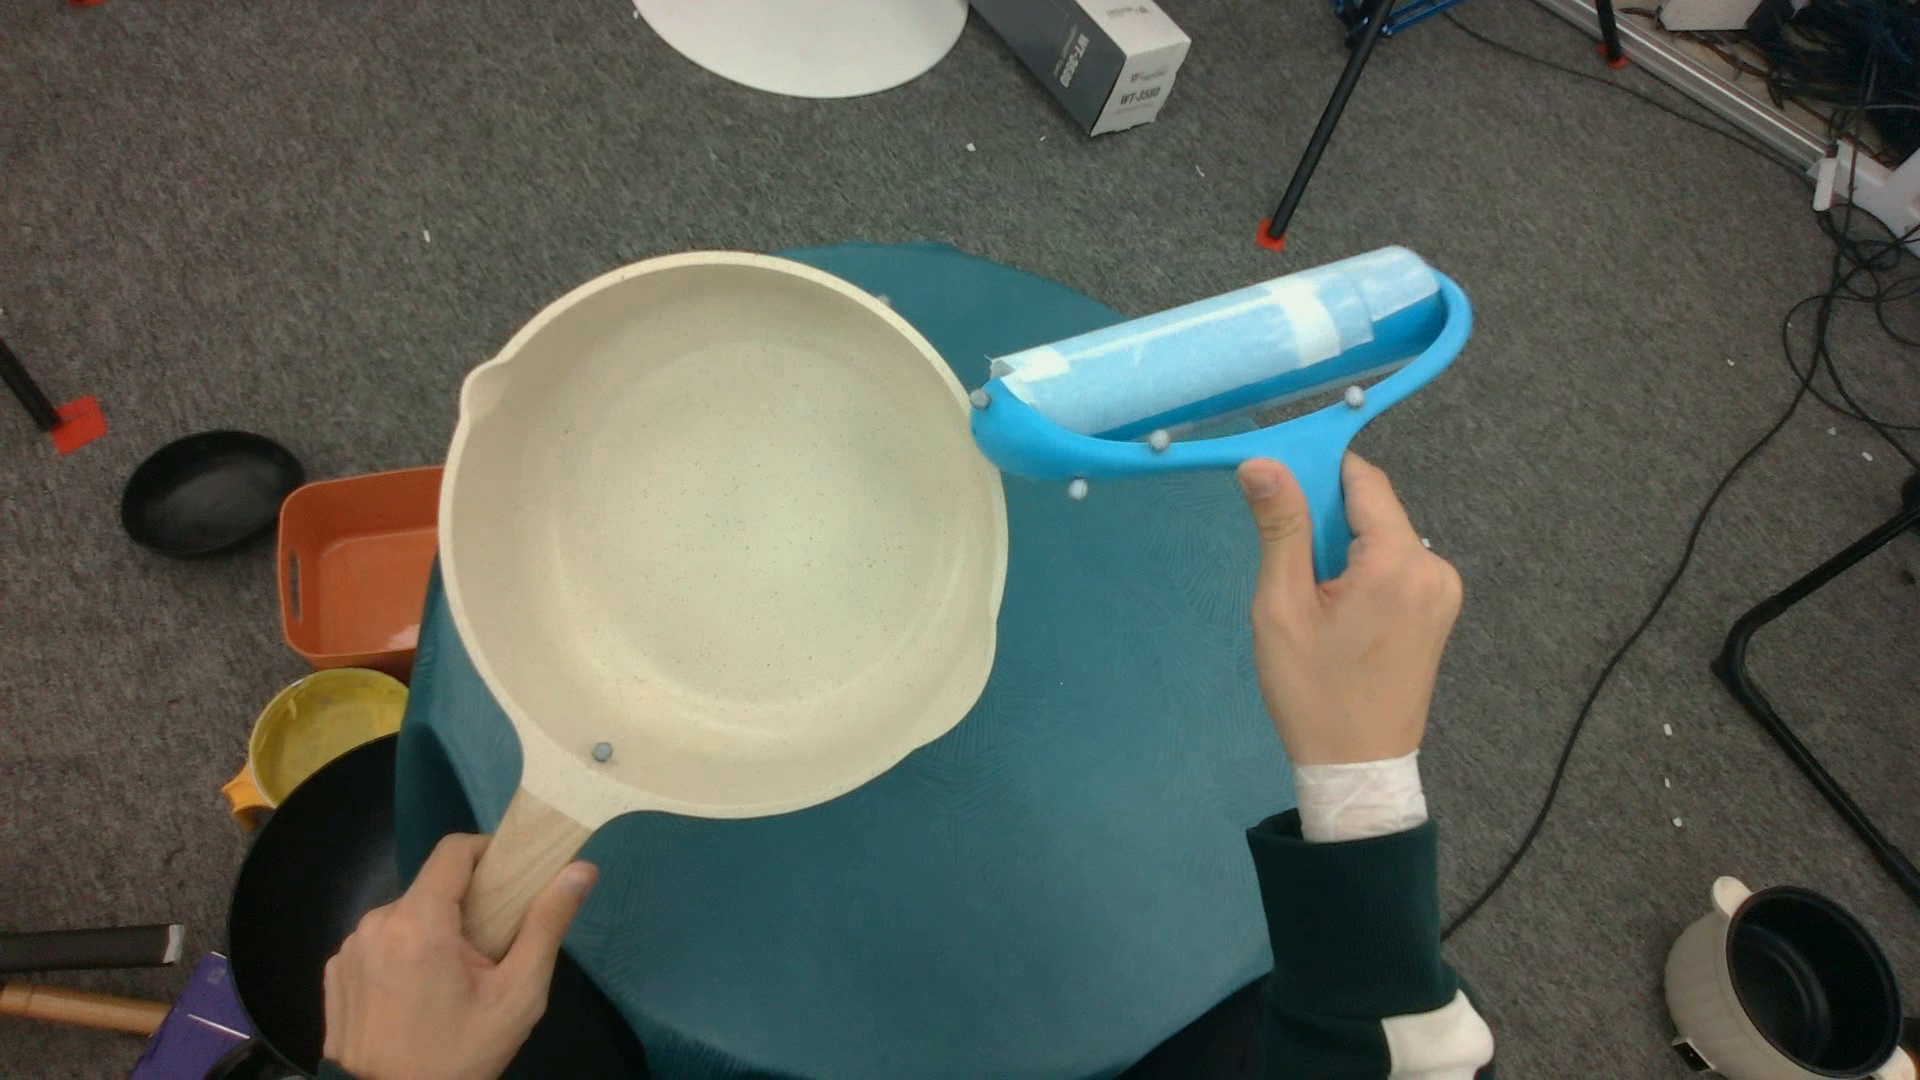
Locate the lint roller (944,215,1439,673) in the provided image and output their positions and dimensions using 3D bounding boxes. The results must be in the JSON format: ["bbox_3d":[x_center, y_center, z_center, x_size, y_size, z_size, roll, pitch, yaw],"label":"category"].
[{"bbox_3d":[0.125,-0.035,0.574,0.229,0.067,0.180,-23,75,-17],"label":"lint roller"}]

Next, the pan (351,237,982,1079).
[{"bbox_3d":[-0.161,0.069,0.645,0.263,0.102,0.434,30,96,-2],"label":"pan"}]
